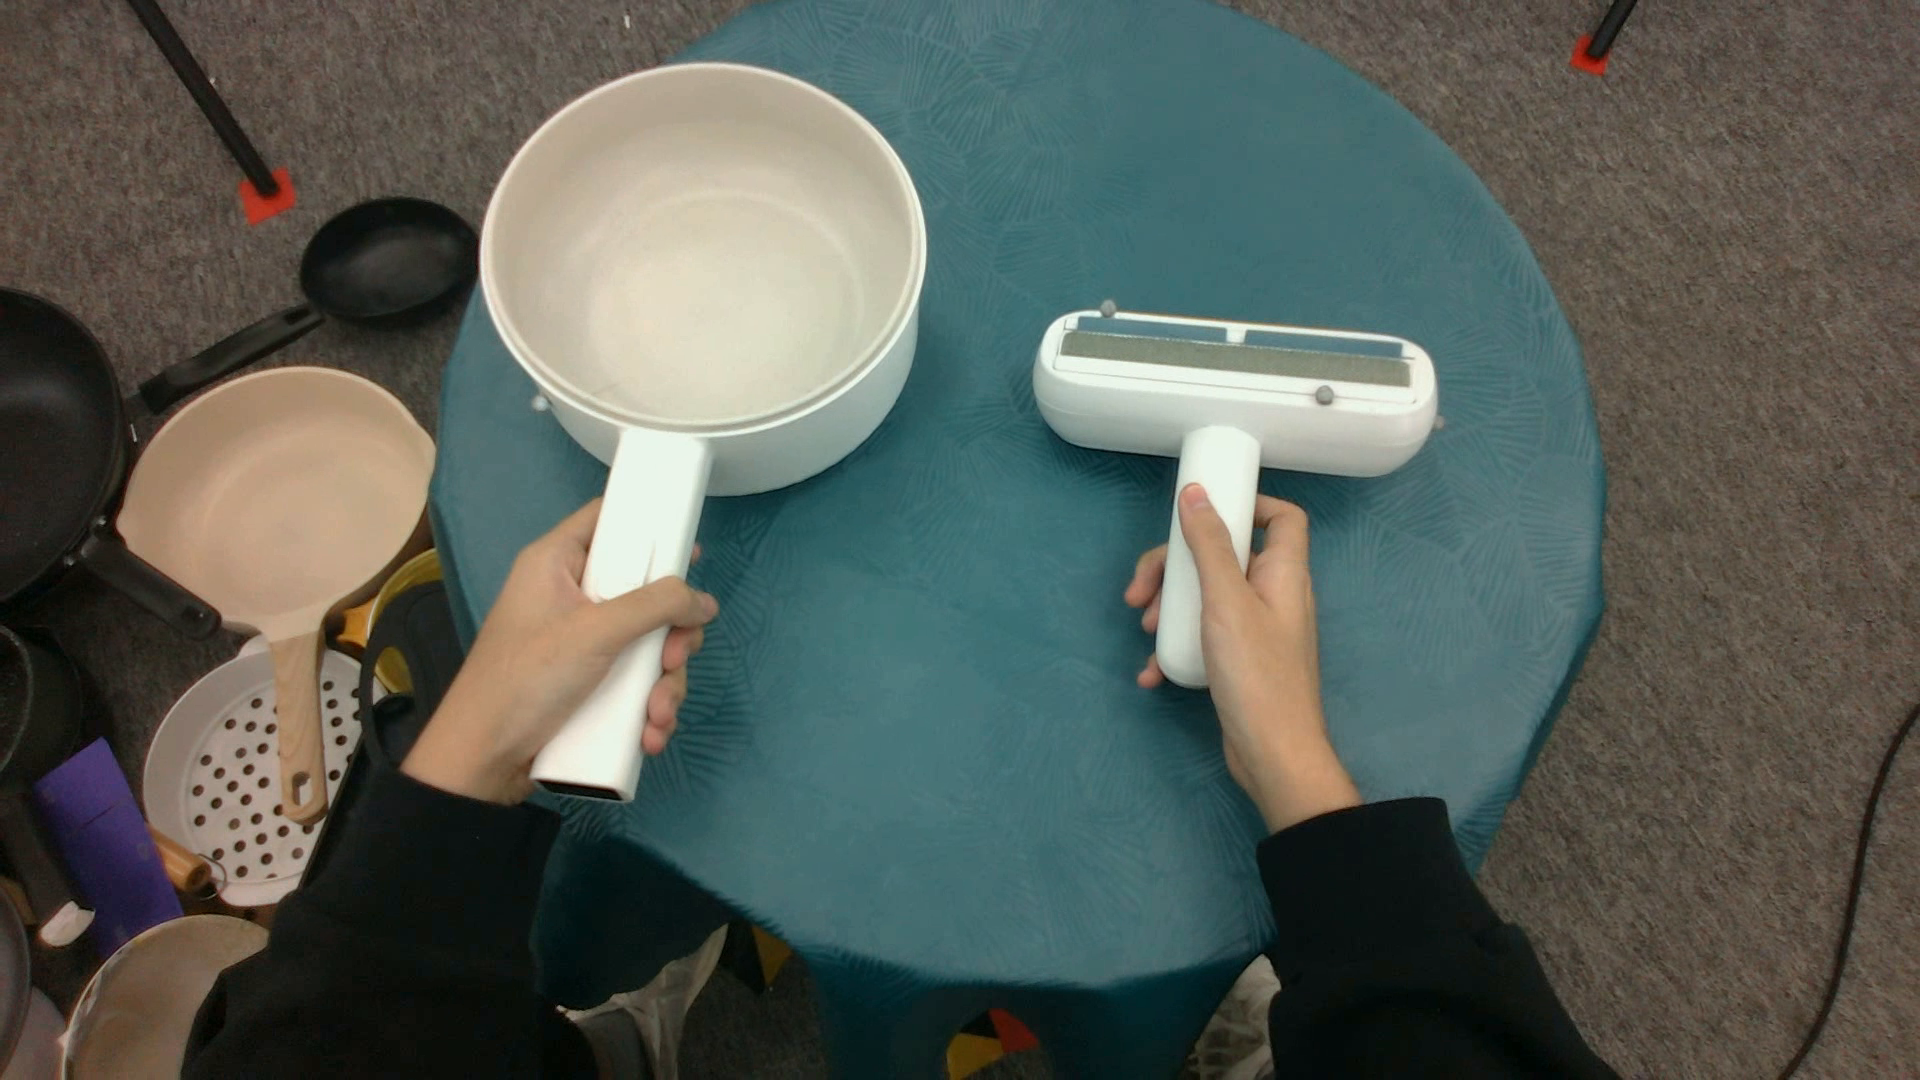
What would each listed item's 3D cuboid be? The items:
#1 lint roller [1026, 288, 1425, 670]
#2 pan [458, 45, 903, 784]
[{"bbox_3d":[0.113,-0.032,0.653,0.193,0.074,0.193,13,57,7],"label":"lint roller"},{"bbox_3d":[-0.138,-0.059,0.641,0.201,0.101,0.356,8,68,0],"label":"pan"}]
